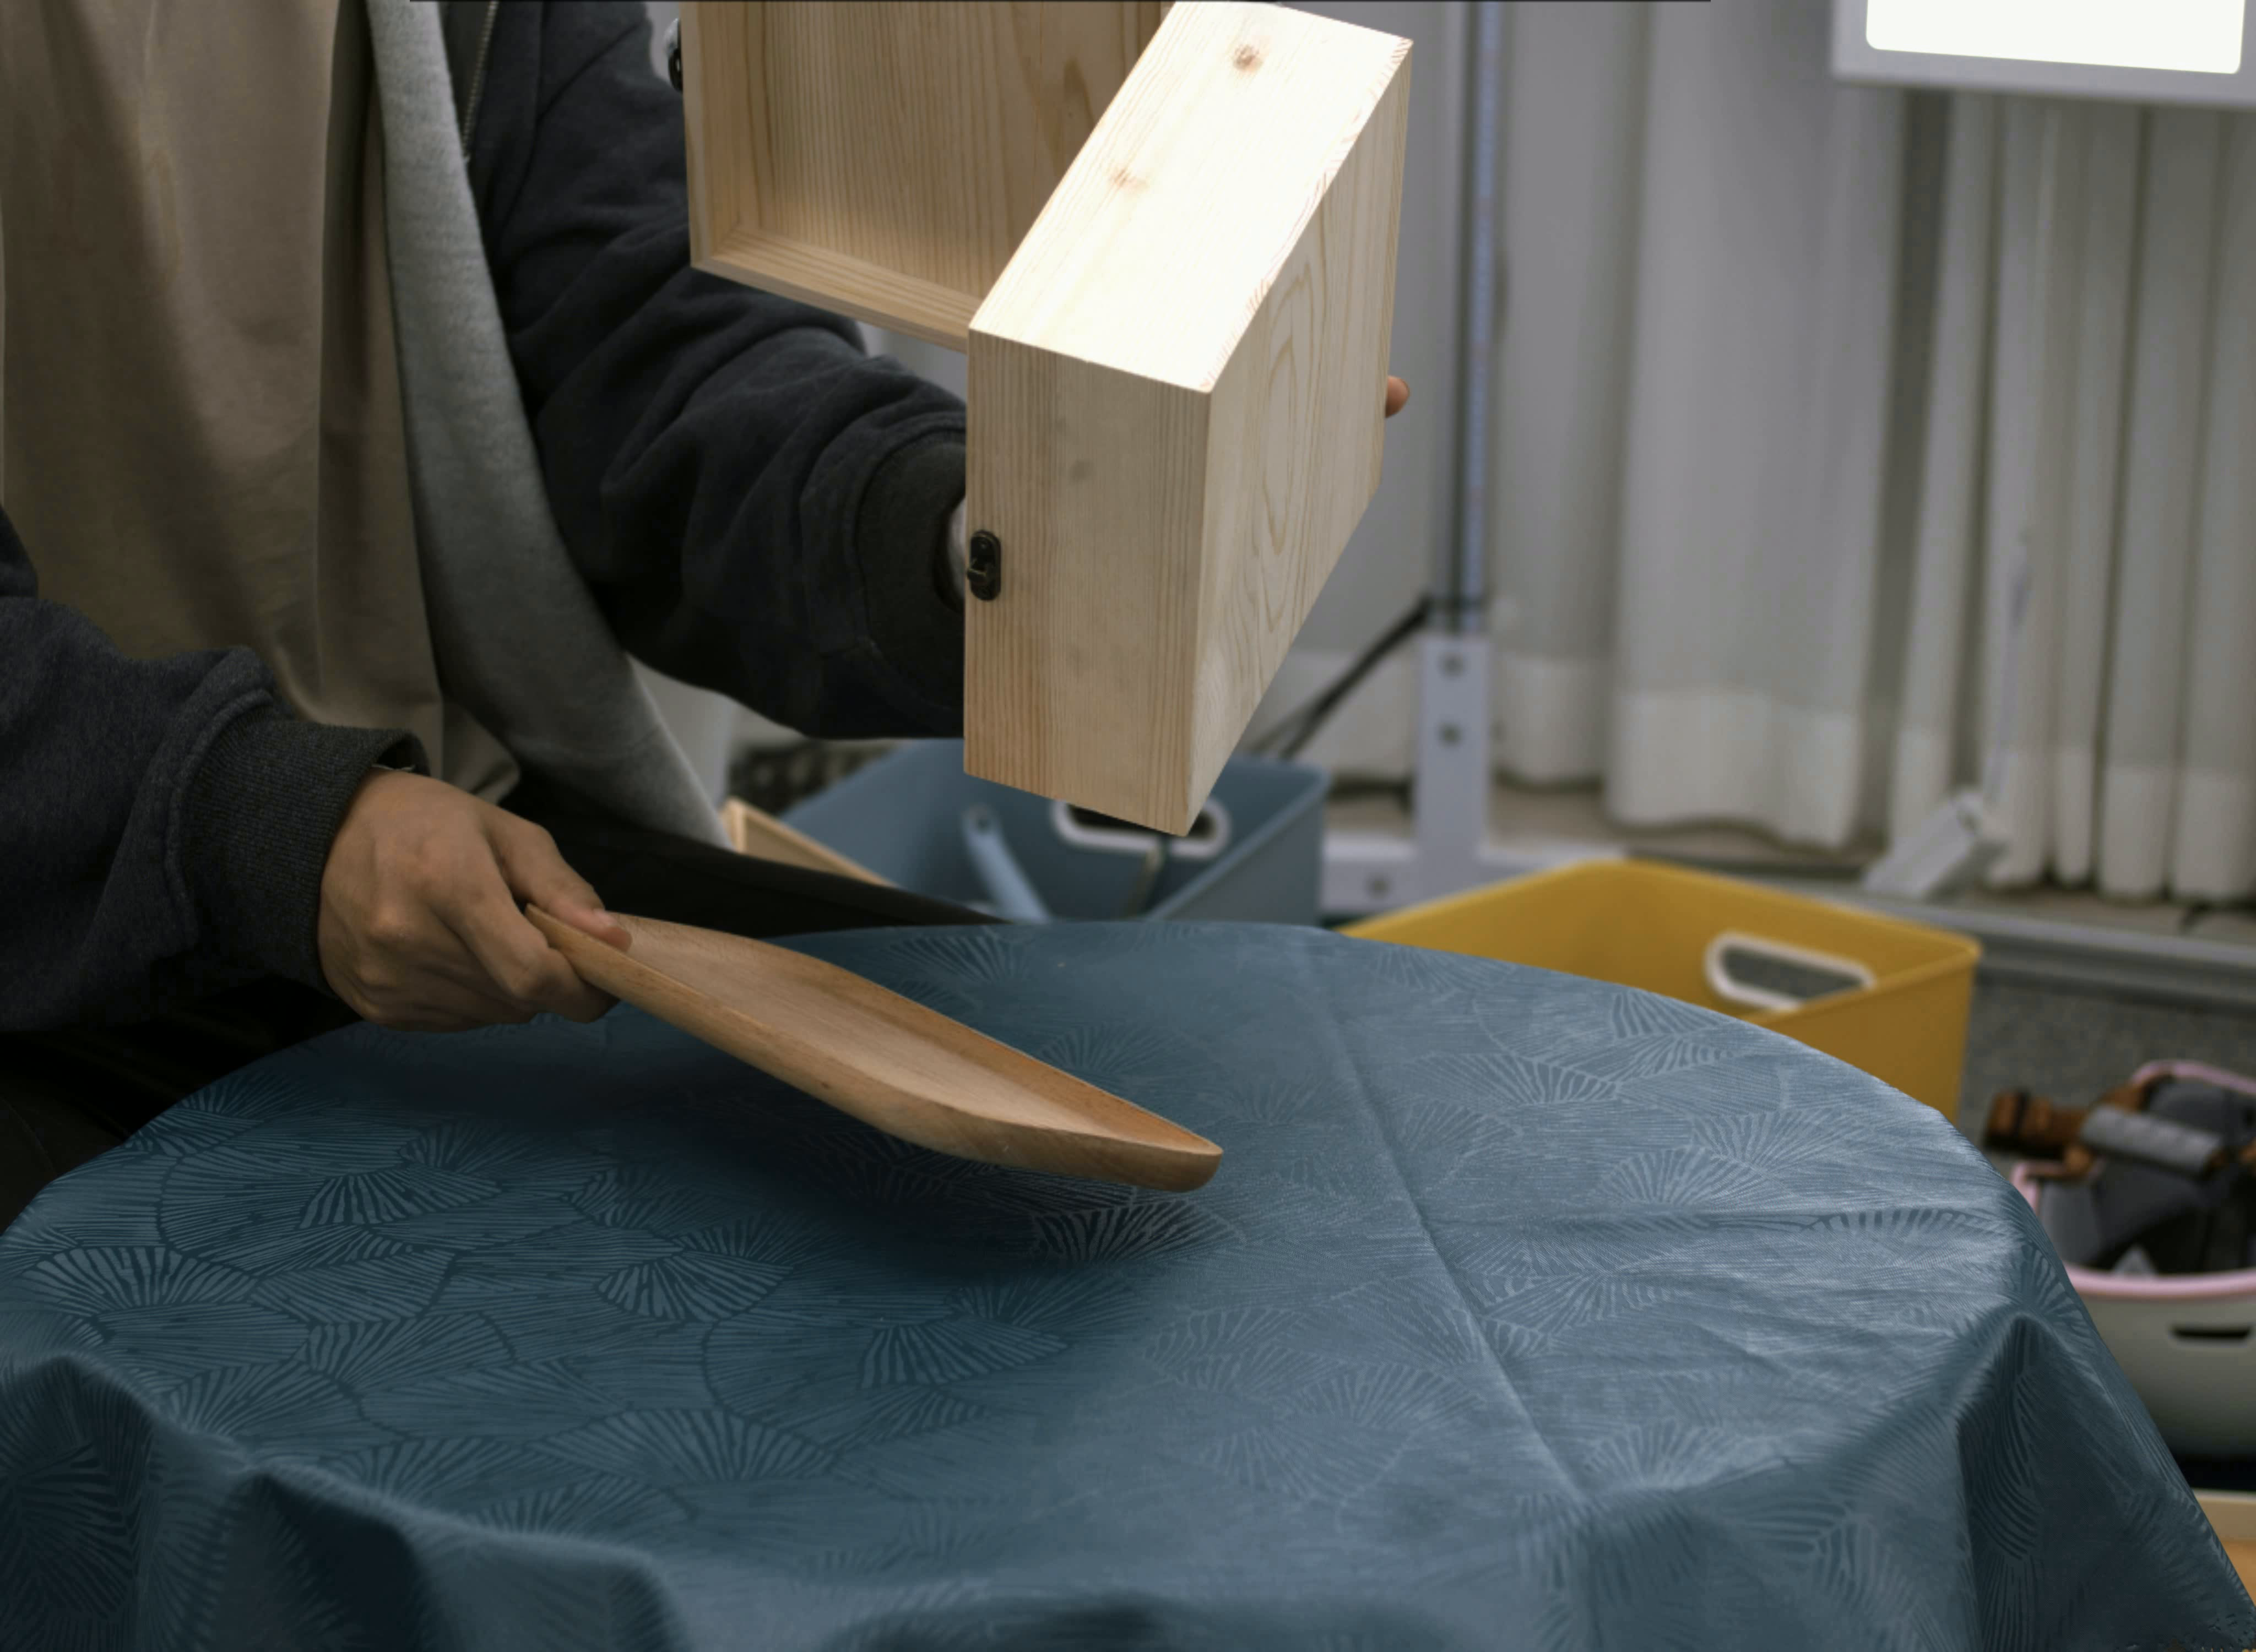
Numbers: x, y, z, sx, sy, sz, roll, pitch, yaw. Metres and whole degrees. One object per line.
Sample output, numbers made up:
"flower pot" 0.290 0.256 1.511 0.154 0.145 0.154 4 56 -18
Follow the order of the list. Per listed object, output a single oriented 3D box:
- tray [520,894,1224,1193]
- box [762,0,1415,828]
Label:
"tray" -0.084 0.067 1.635 0.132 0.023 0.247 16 3 -40
"box" -0.047 -0.174 1.657 0.251 0.184 0.264 15 46 16
